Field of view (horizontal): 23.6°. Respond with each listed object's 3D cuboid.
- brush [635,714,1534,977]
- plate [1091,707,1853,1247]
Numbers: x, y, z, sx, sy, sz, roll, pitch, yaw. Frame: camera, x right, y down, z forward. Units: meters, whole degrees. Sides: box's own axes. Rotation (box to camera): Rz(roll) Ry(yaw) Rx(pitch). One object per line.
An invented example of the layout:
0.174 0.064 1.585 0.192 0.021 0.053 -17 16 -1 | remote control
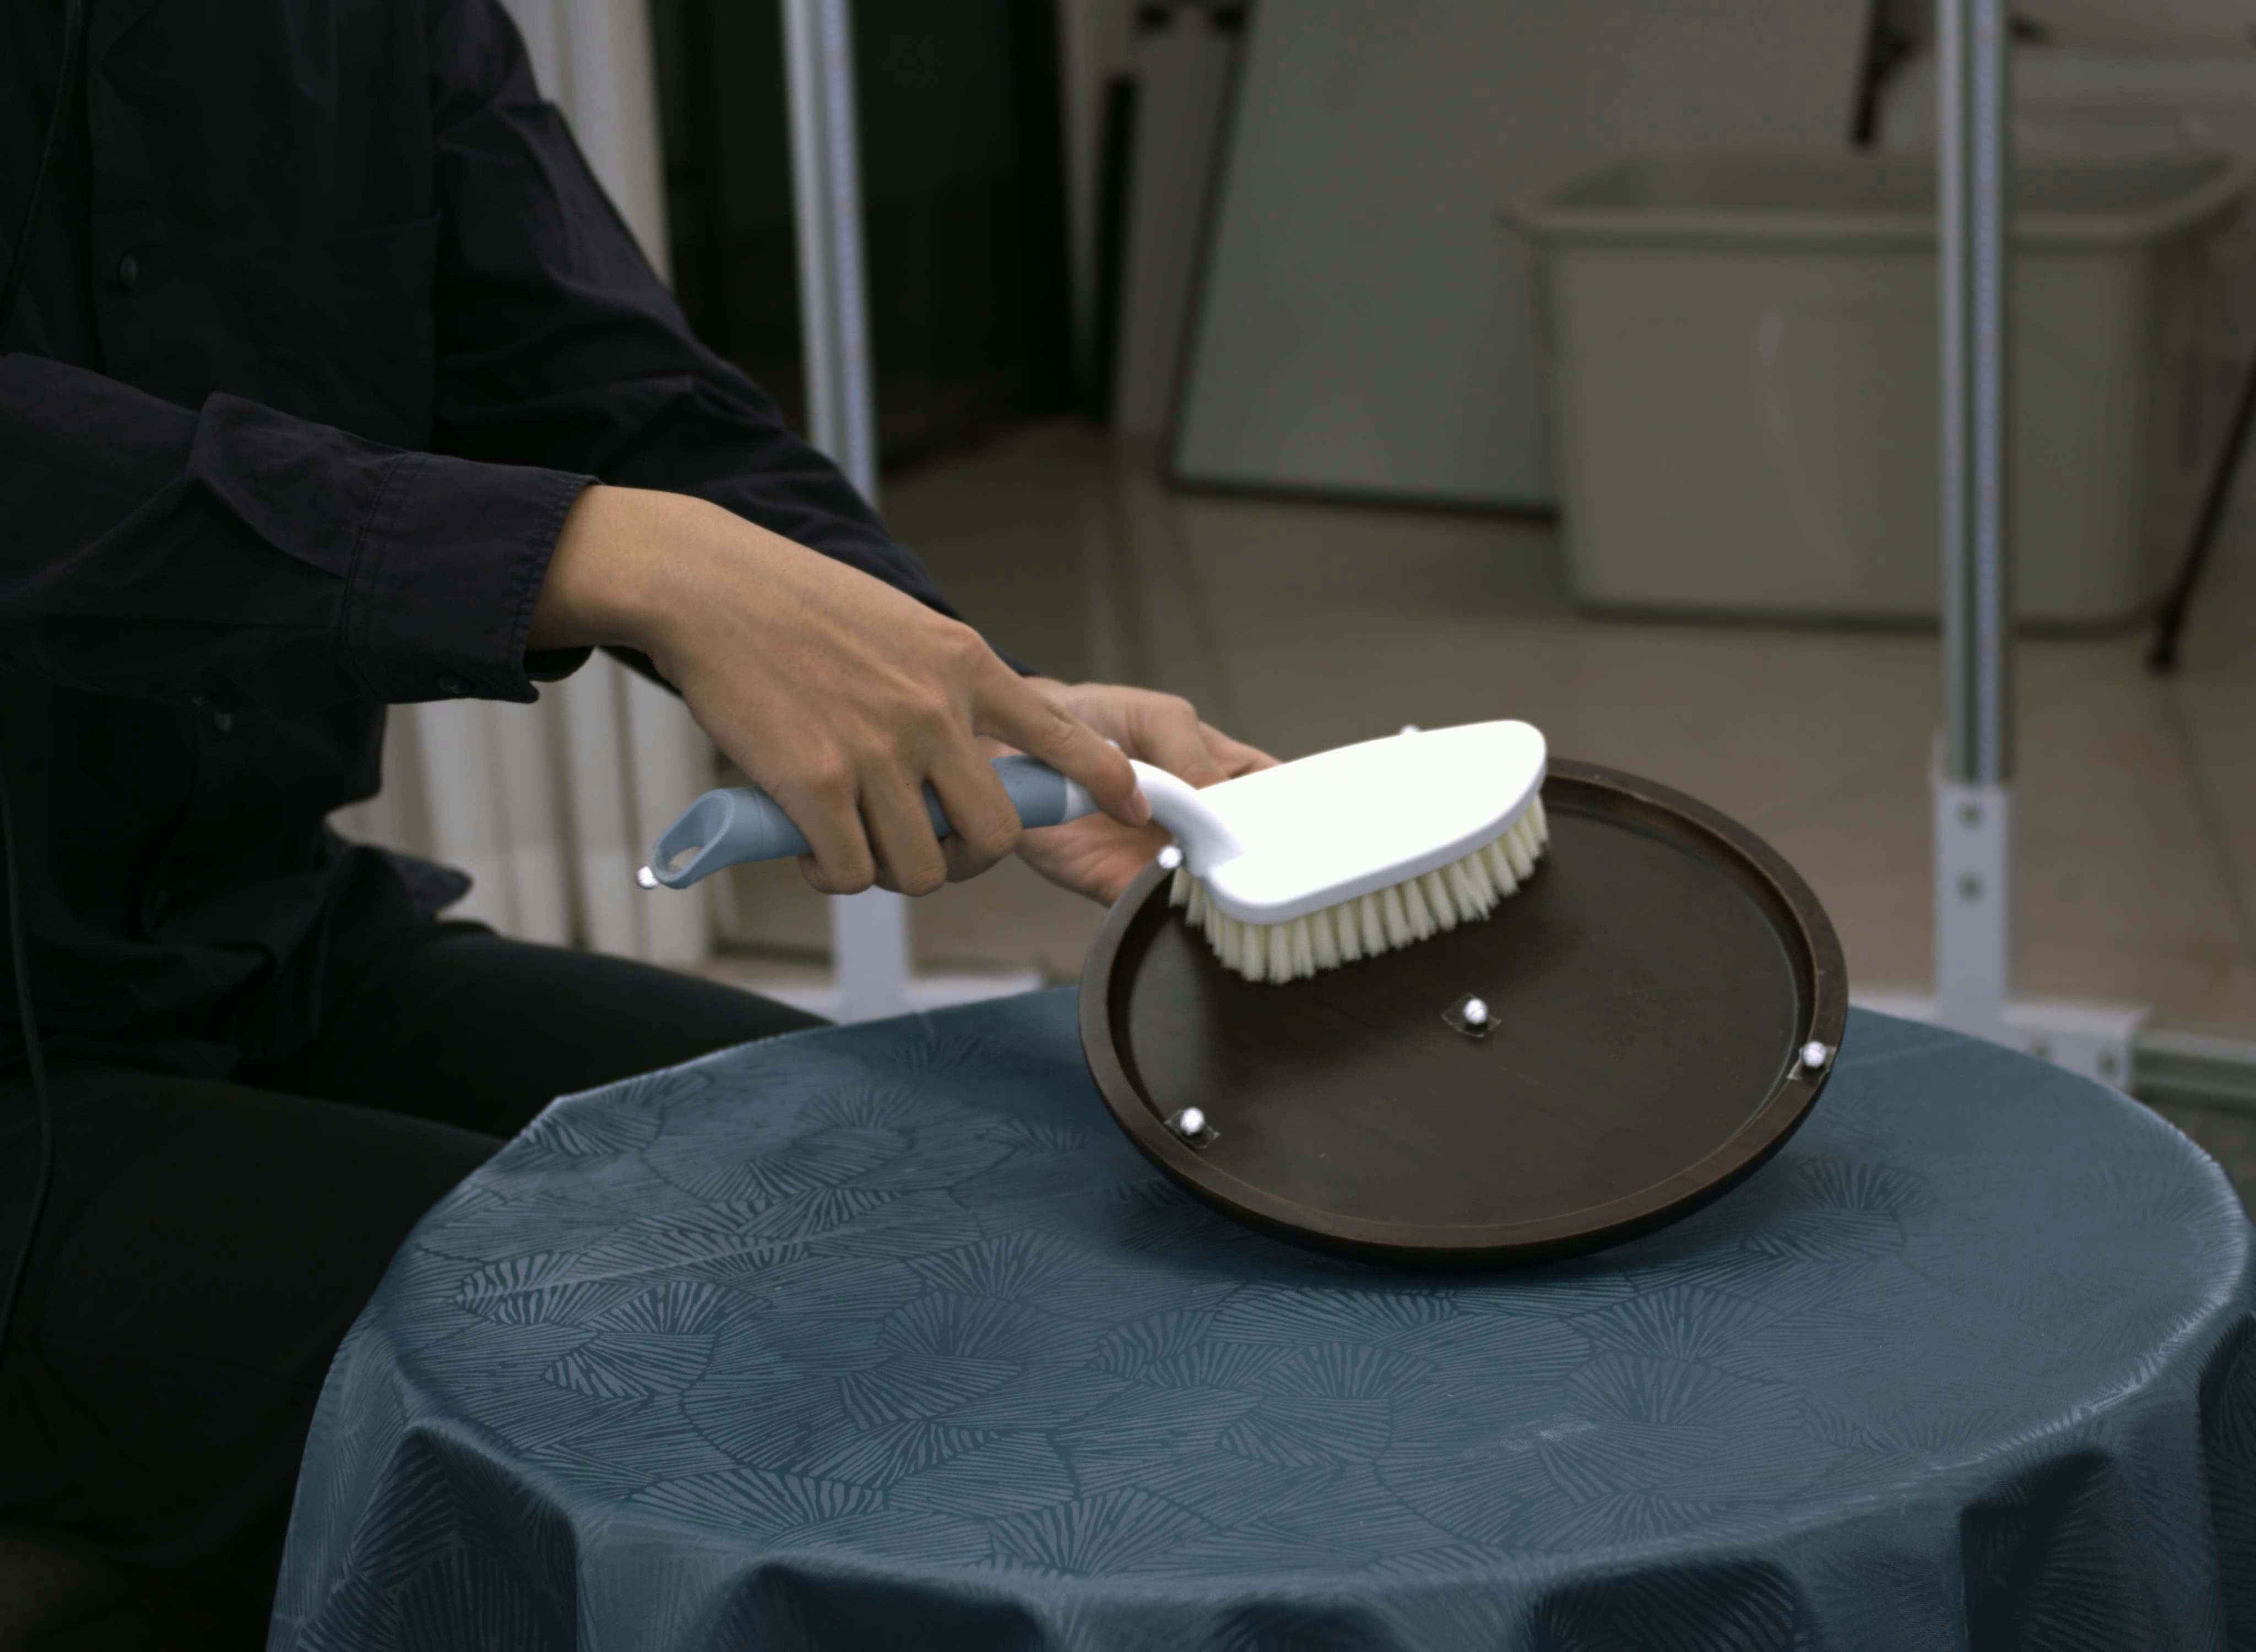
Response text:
-0.013 0.014 1.764 0.318 0.085 0.084 -7 -2 -23 | brush
0.113 0.050 1.769 0.252 0.029 0.256 -5 39 3 | plate
